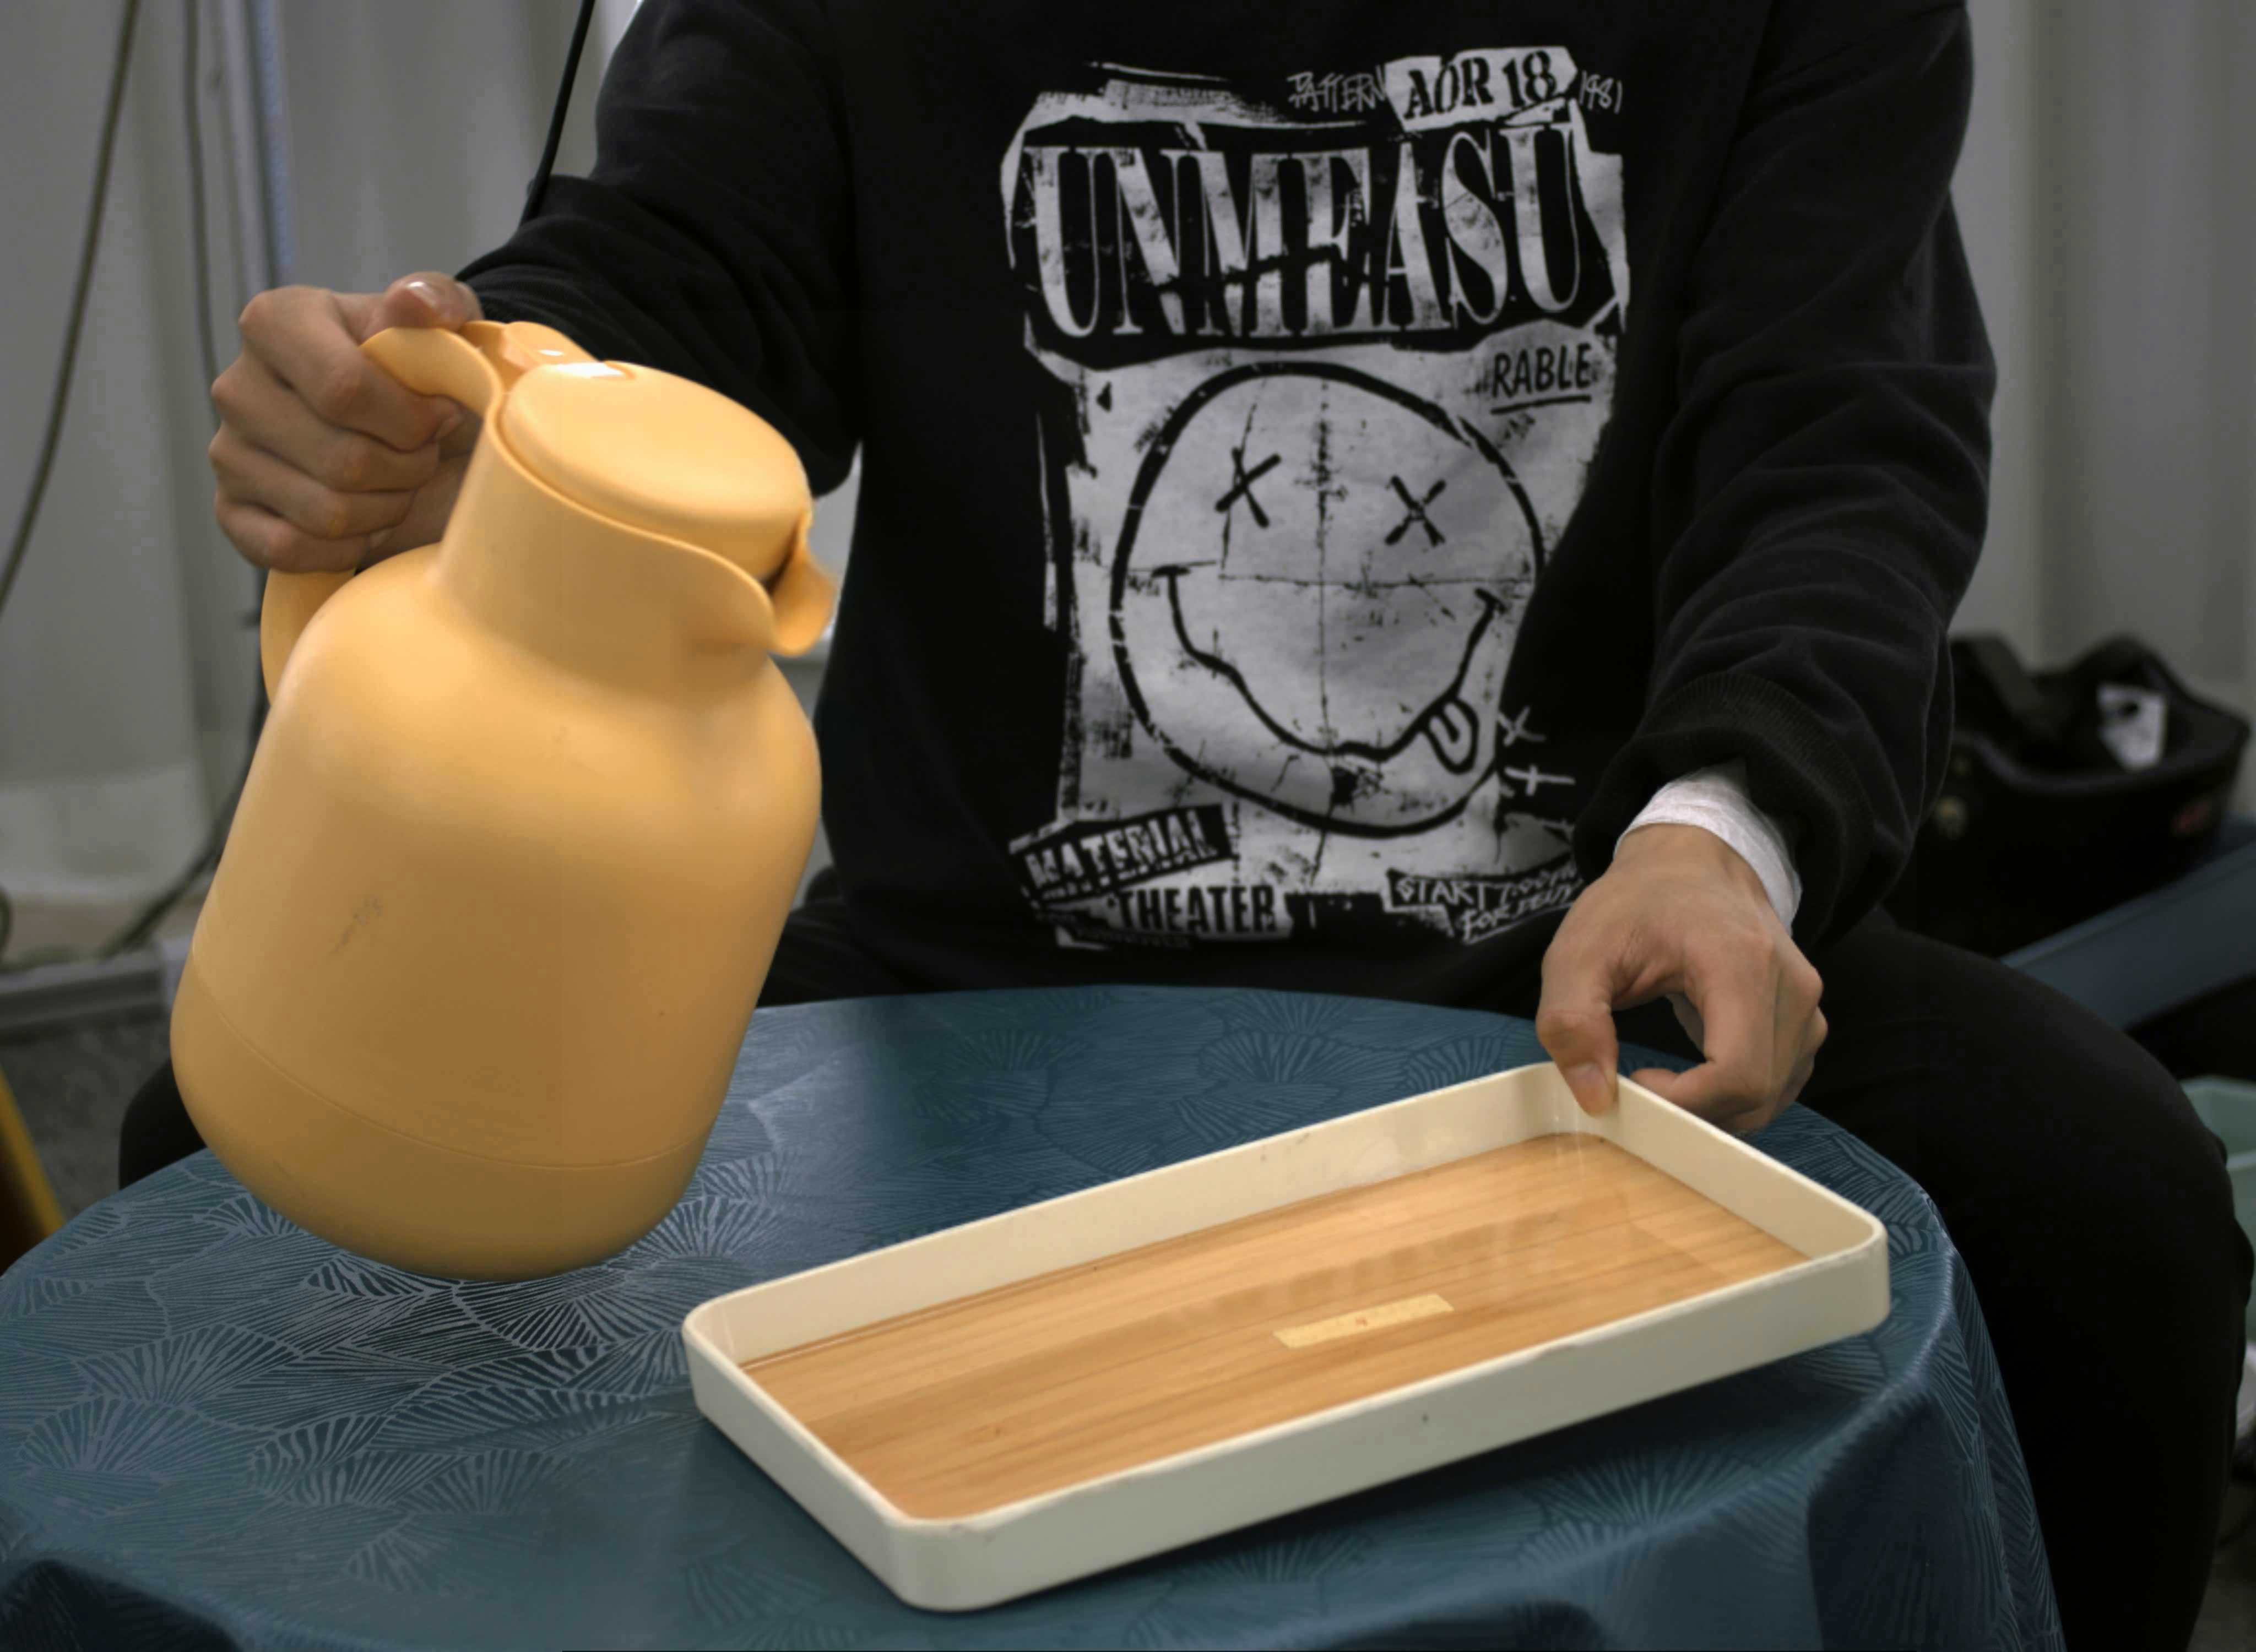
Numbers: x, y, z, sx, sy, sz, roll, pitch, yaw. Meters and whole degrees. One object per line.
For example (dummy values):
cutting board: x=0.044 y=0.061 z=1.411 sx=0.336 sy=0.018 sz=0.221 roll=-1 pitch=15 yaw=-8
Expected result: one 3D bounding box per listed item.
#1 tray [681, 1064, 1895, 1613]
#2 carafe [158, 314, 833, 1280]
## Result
tray: x=0.043 y=0.137 z=1.521 sx=0.299 sy=0.027 sz=0.193 roll=-14 pitch=19 yaw=-21
carafe: x=-0.184 y=-0.018 z=1.595 sx=0.162 sy=0.259 sz=0.205 roll=-2 pitch=34 yaw=-46
